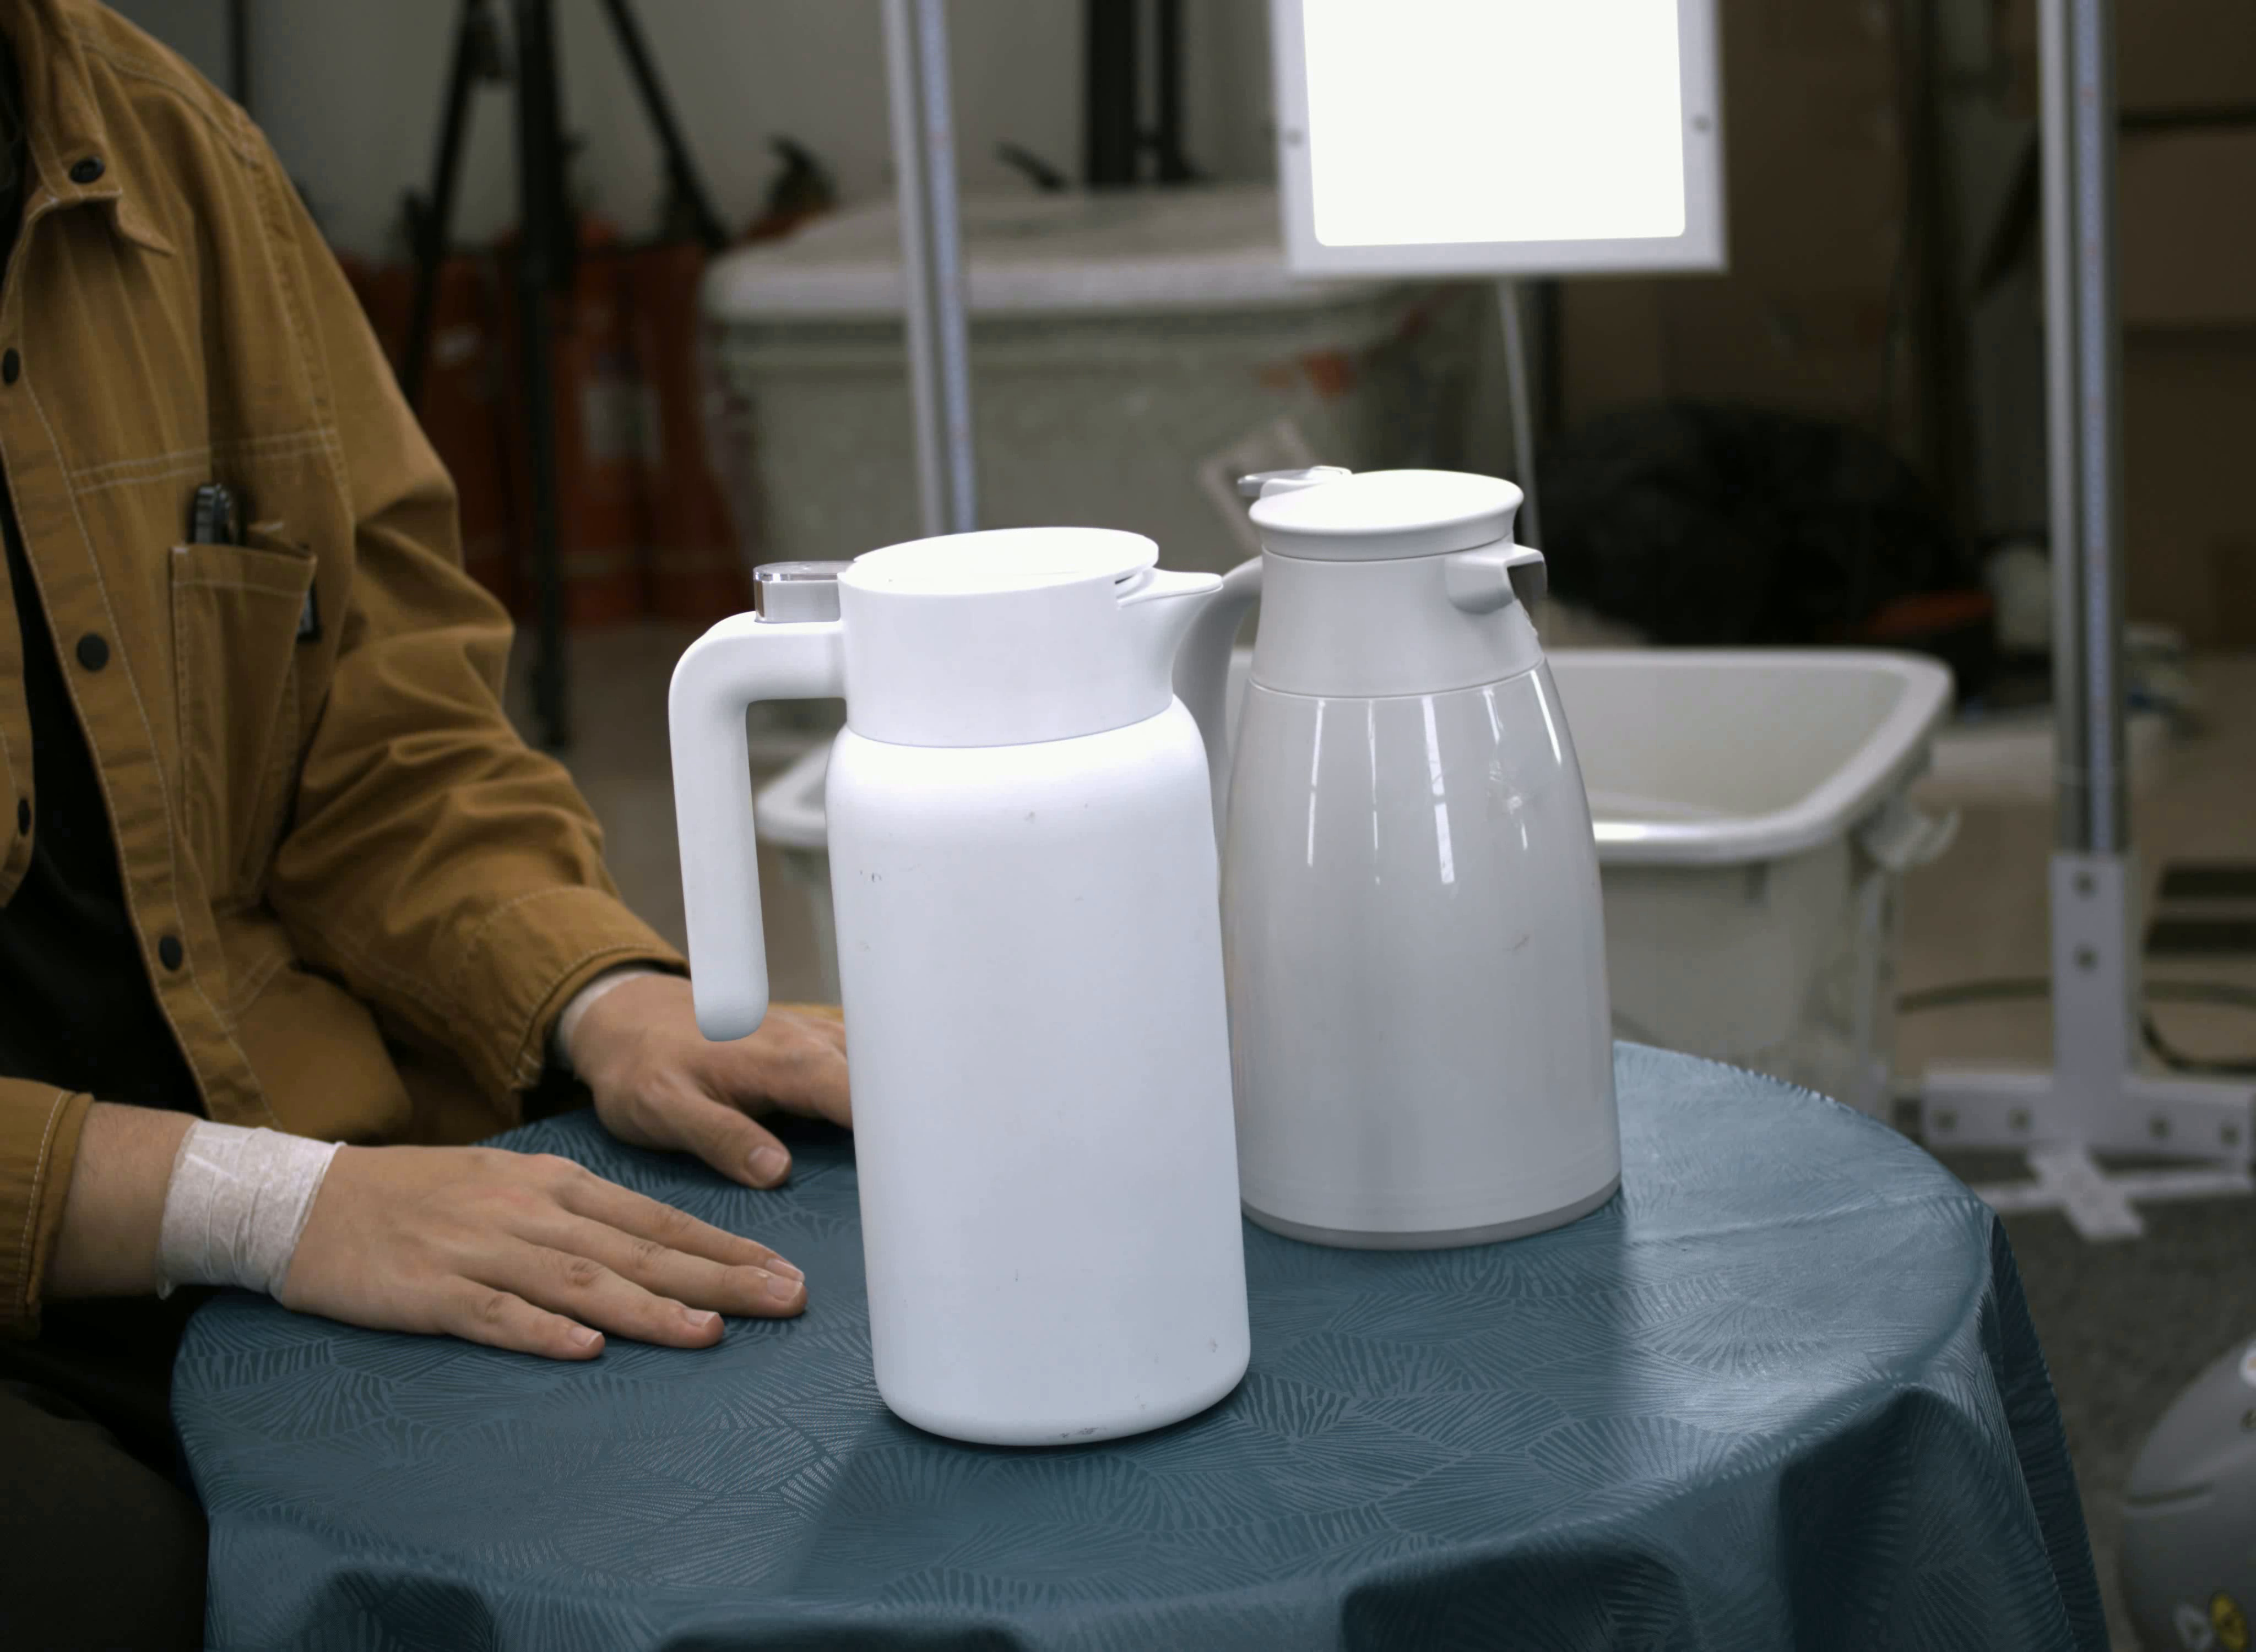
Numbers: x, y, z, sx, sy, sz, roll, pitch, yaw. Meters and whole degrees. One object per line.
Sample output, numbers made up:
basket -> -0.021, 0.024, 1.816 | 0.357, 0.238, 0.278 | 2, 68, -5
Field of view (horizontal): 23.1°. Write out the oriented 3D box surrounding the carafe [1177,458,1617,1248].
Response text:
carafe -> 0.079, 0.001, 1.855 | 0.129, 0.249, 0.171 | -17, 18, -40

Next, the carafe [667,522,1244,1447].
carafe -> -0.048, 0.047, 1.677 | 0.174, 0.270, 0.122 | -2, 16, 12
